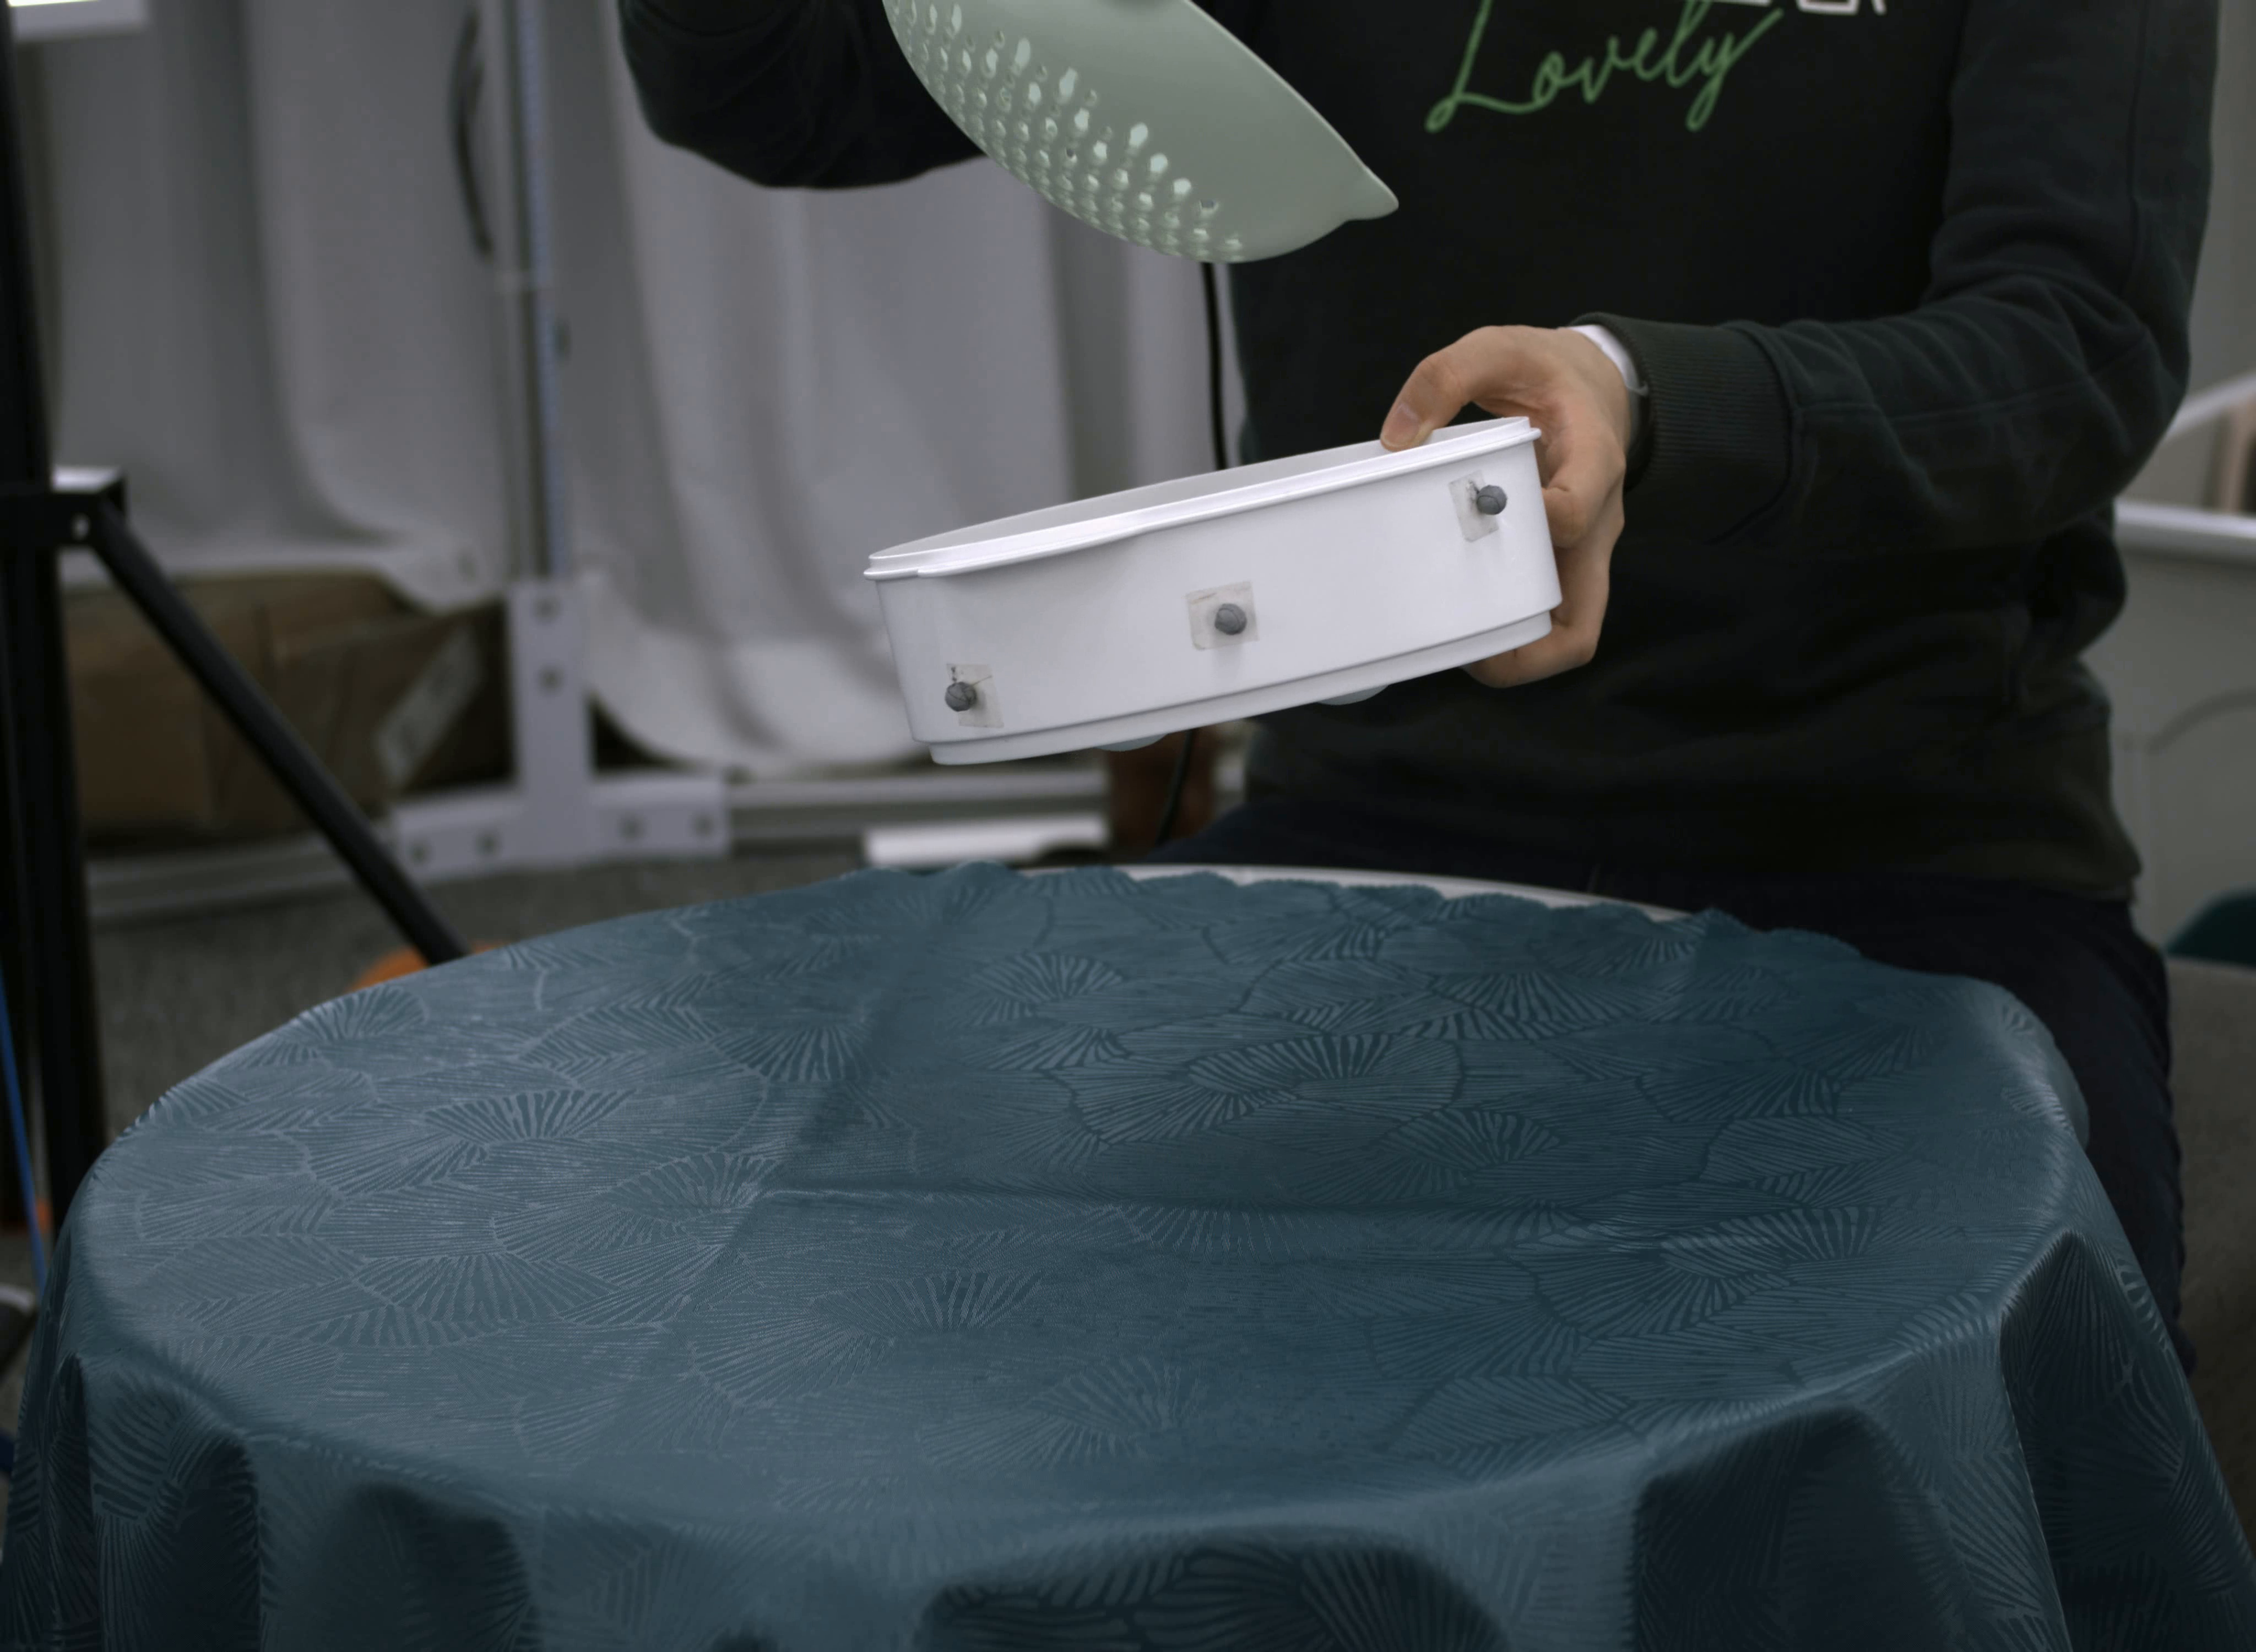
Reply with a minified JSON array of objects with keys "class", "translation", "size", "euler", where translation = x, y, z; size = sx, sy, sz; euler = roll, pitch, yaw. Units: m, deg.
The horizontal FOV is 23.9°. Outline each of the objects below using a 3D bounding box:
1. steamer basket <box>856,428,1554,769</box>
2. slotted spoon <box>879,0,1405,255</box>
[{"class":"steamer basket","translation":[0.025,-0.064,1.544],"size":[0.205,0.069,0.226],"euler":[-7,7,32]},{"class":"slotted spoon","translation":[-0.055,-0.254,1.623],"size":[0.165,0.075,0.366],"euler":[39,3,-36]}]
